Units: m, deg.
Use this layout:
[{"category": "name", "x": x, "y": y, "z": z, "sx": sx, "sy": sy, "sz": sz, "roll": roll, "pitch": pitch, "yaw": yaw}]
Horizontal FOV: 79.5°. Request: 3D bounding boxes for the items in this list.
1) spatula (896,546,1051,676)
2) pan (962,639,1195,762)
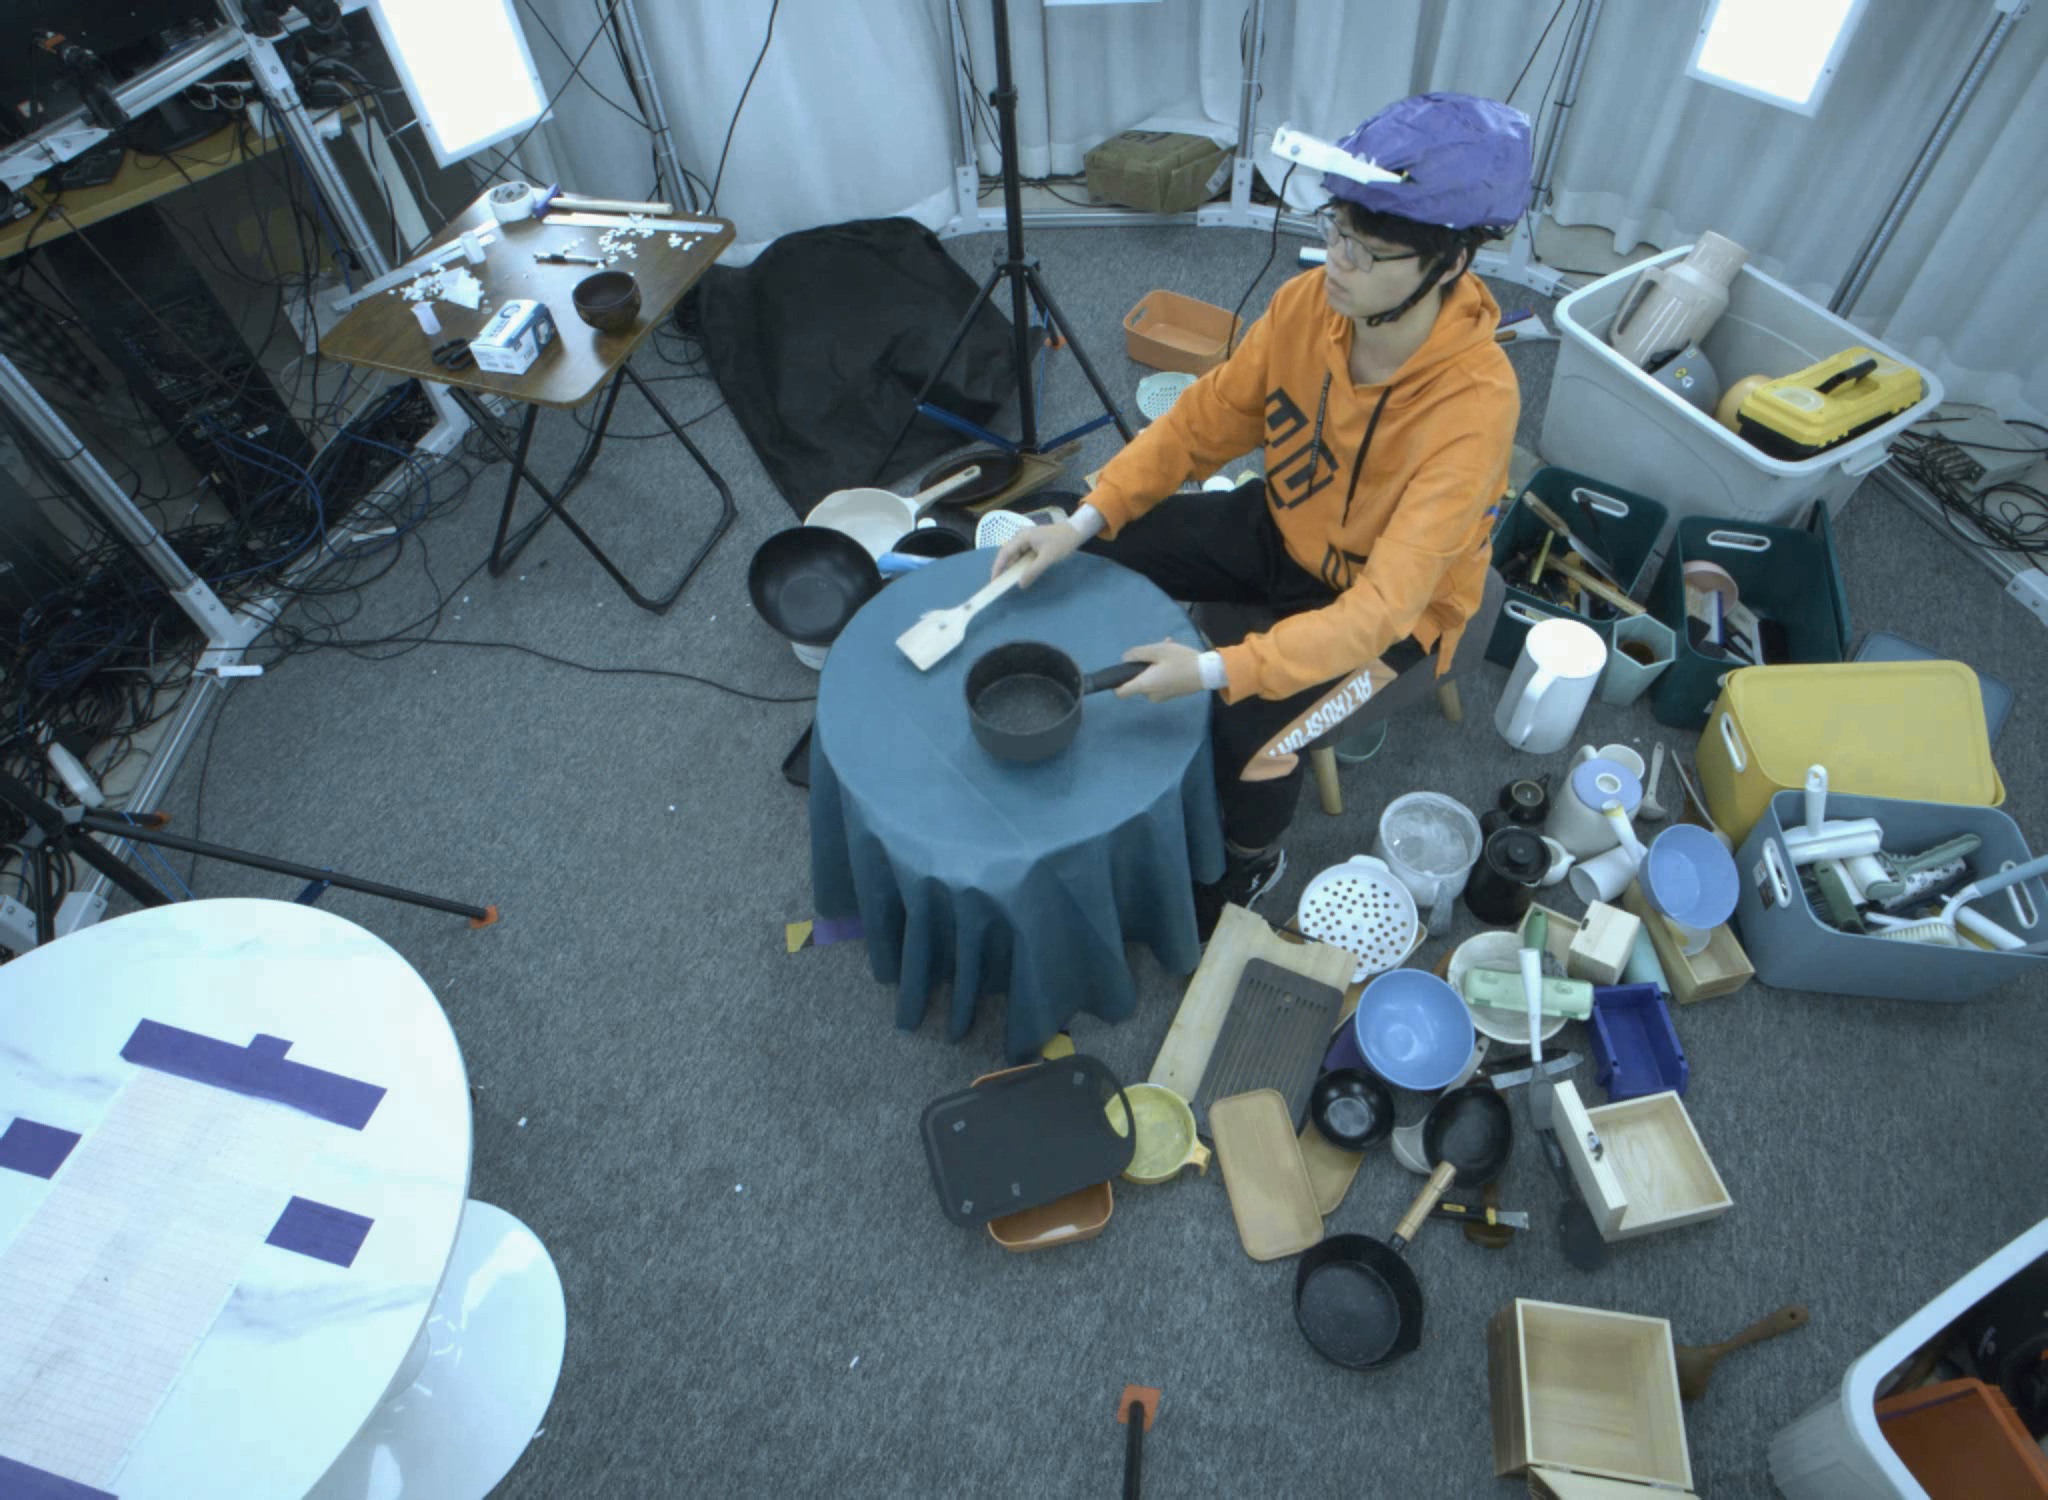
[{"category": "spatula", "x": -0.071, "y": -0.226, "z": 1.912, "sx": 0.294, "sy": 0.011, "sz": 0.071, "roll": -41, "pitch": 74, "yaw": -15}, {"category": "pan", "x": 0.079, "y": -0.083, "z": 1.754, "sx": 0.330, "sy": 0.087, "sz": 0.169, "roll": -9, "pitch": 56, "yaw": -4}]
